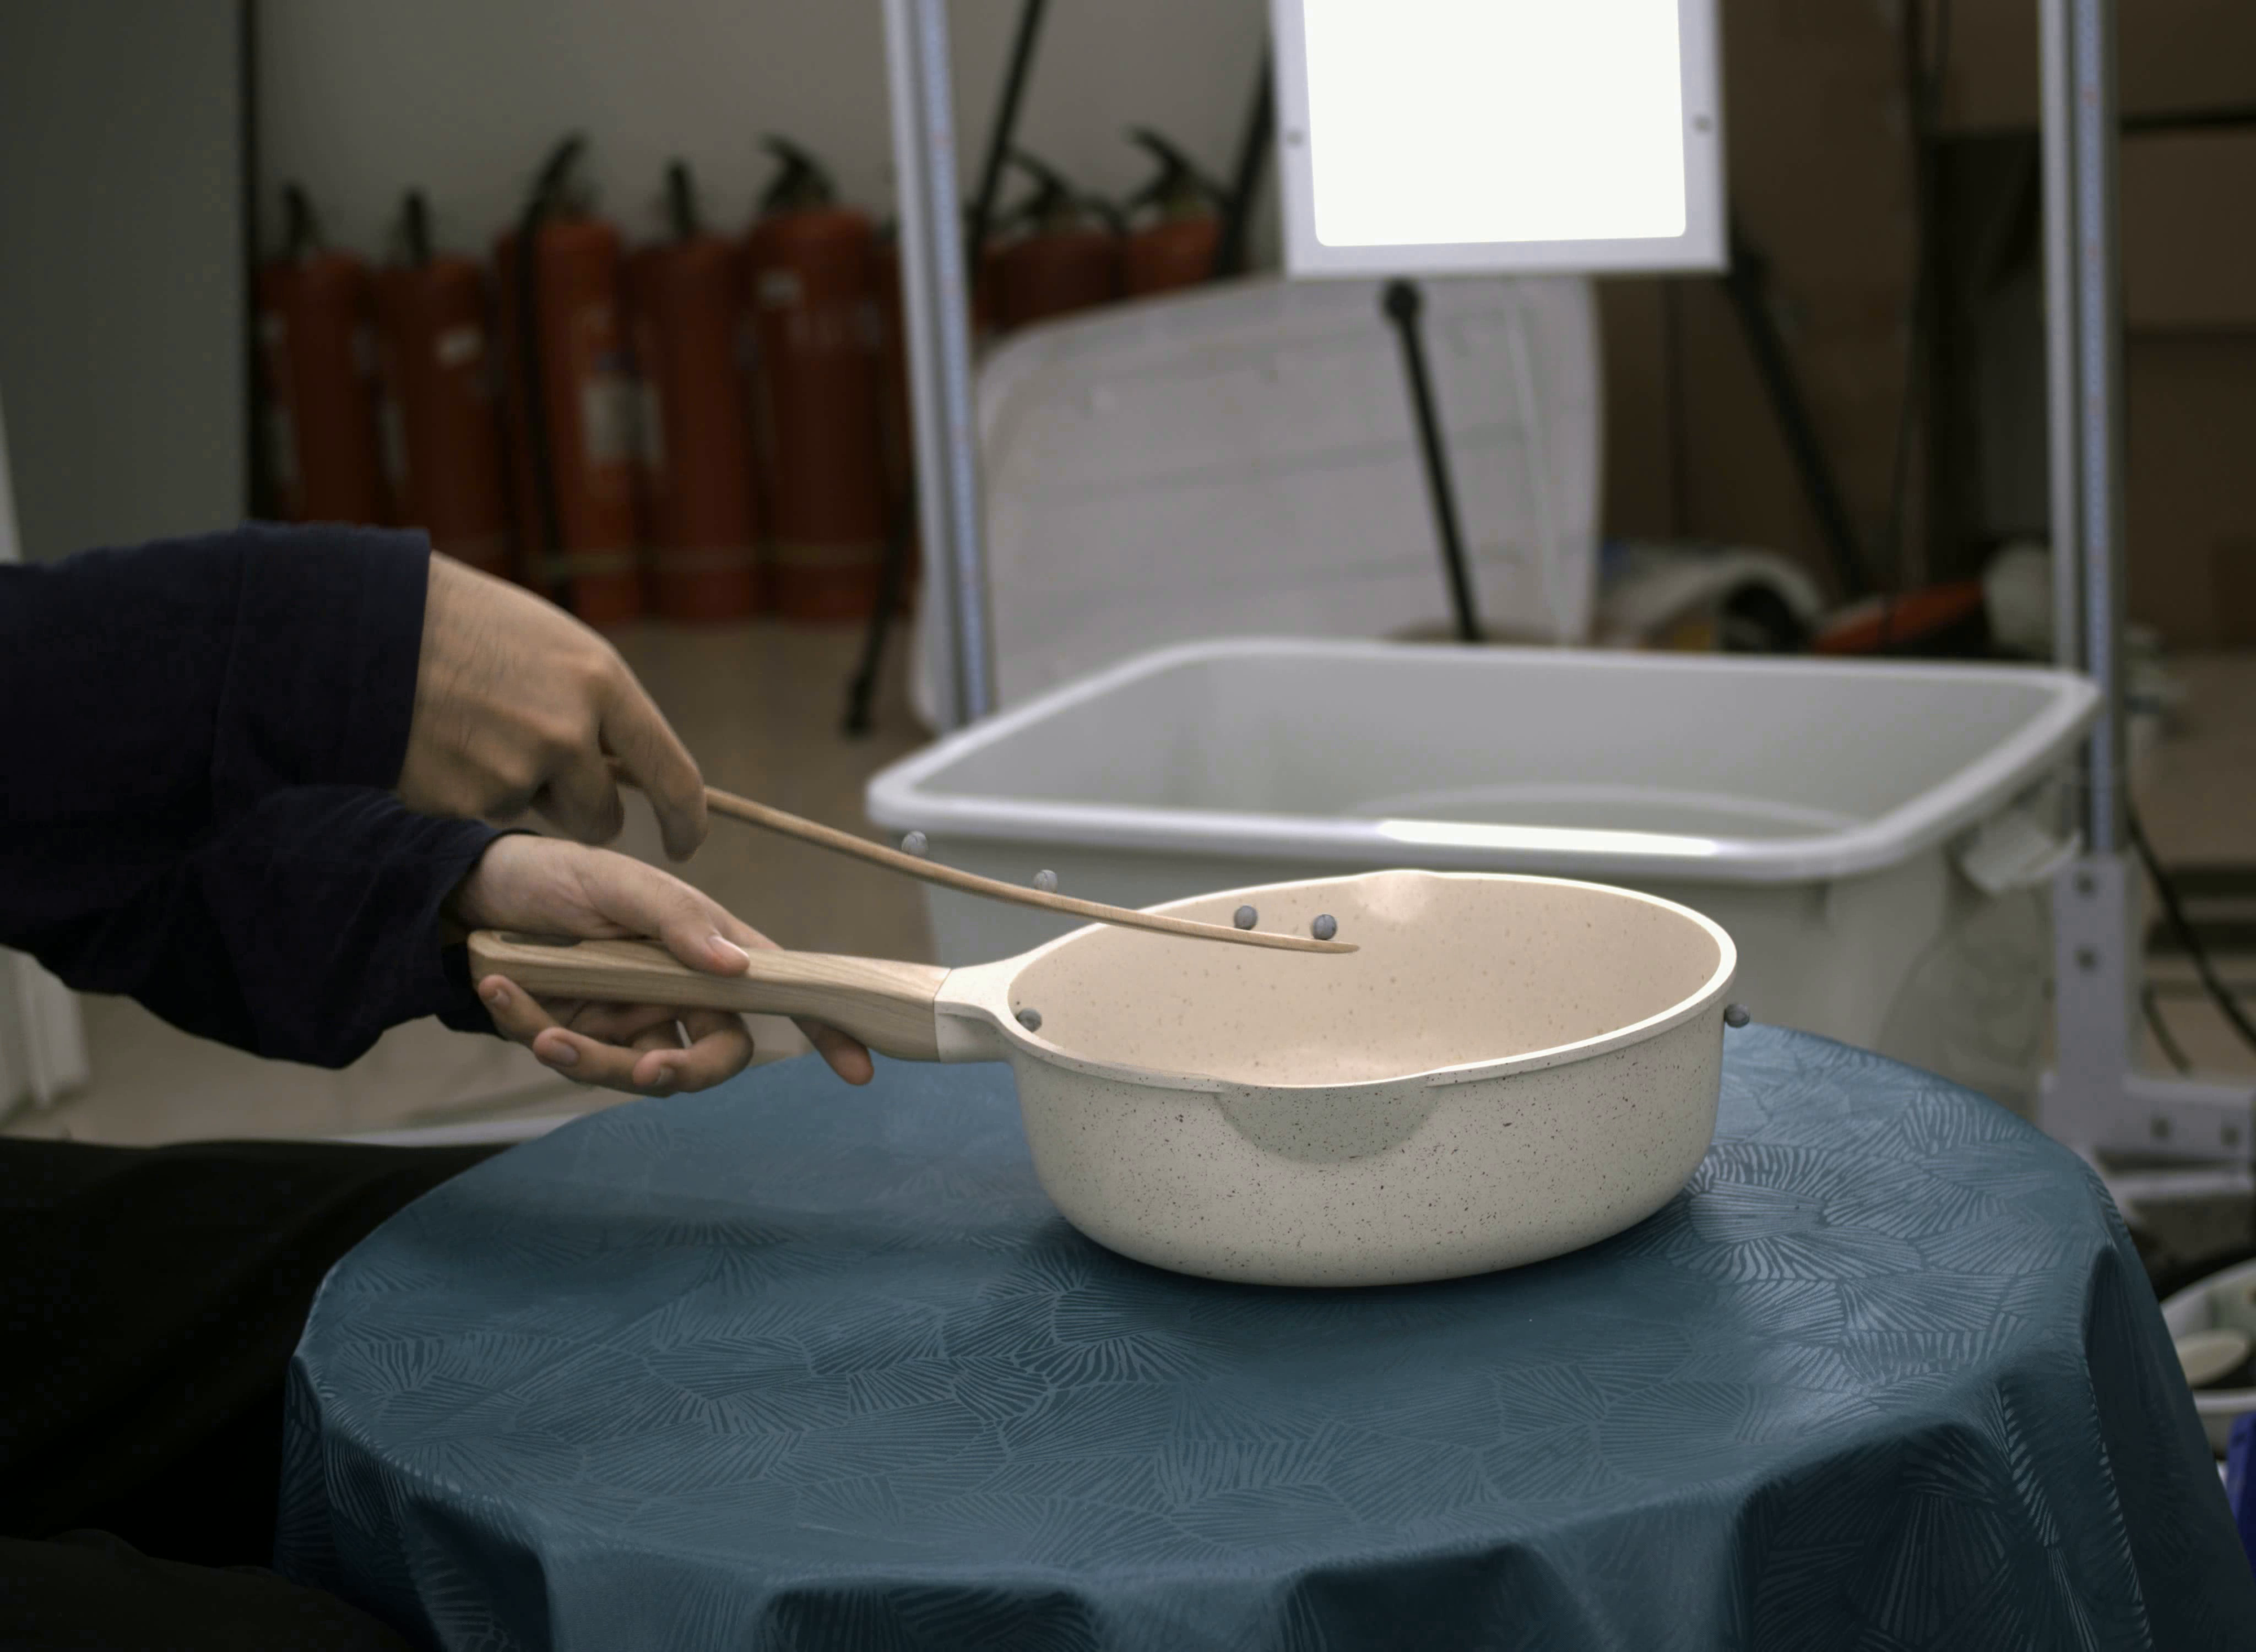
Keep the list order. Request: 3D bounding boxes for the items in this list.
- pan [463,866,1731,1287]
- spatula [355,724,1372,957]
[{"bbox_3d":[-0.010,0.083,1.877,0.437,0.102,0.261,-3,15,10],"label":"pan"},{"bbox_3d":[-0.084,0.006,1.720,0.323,0.016,0.081,15,-3,-17],"label":"spatula"}]
